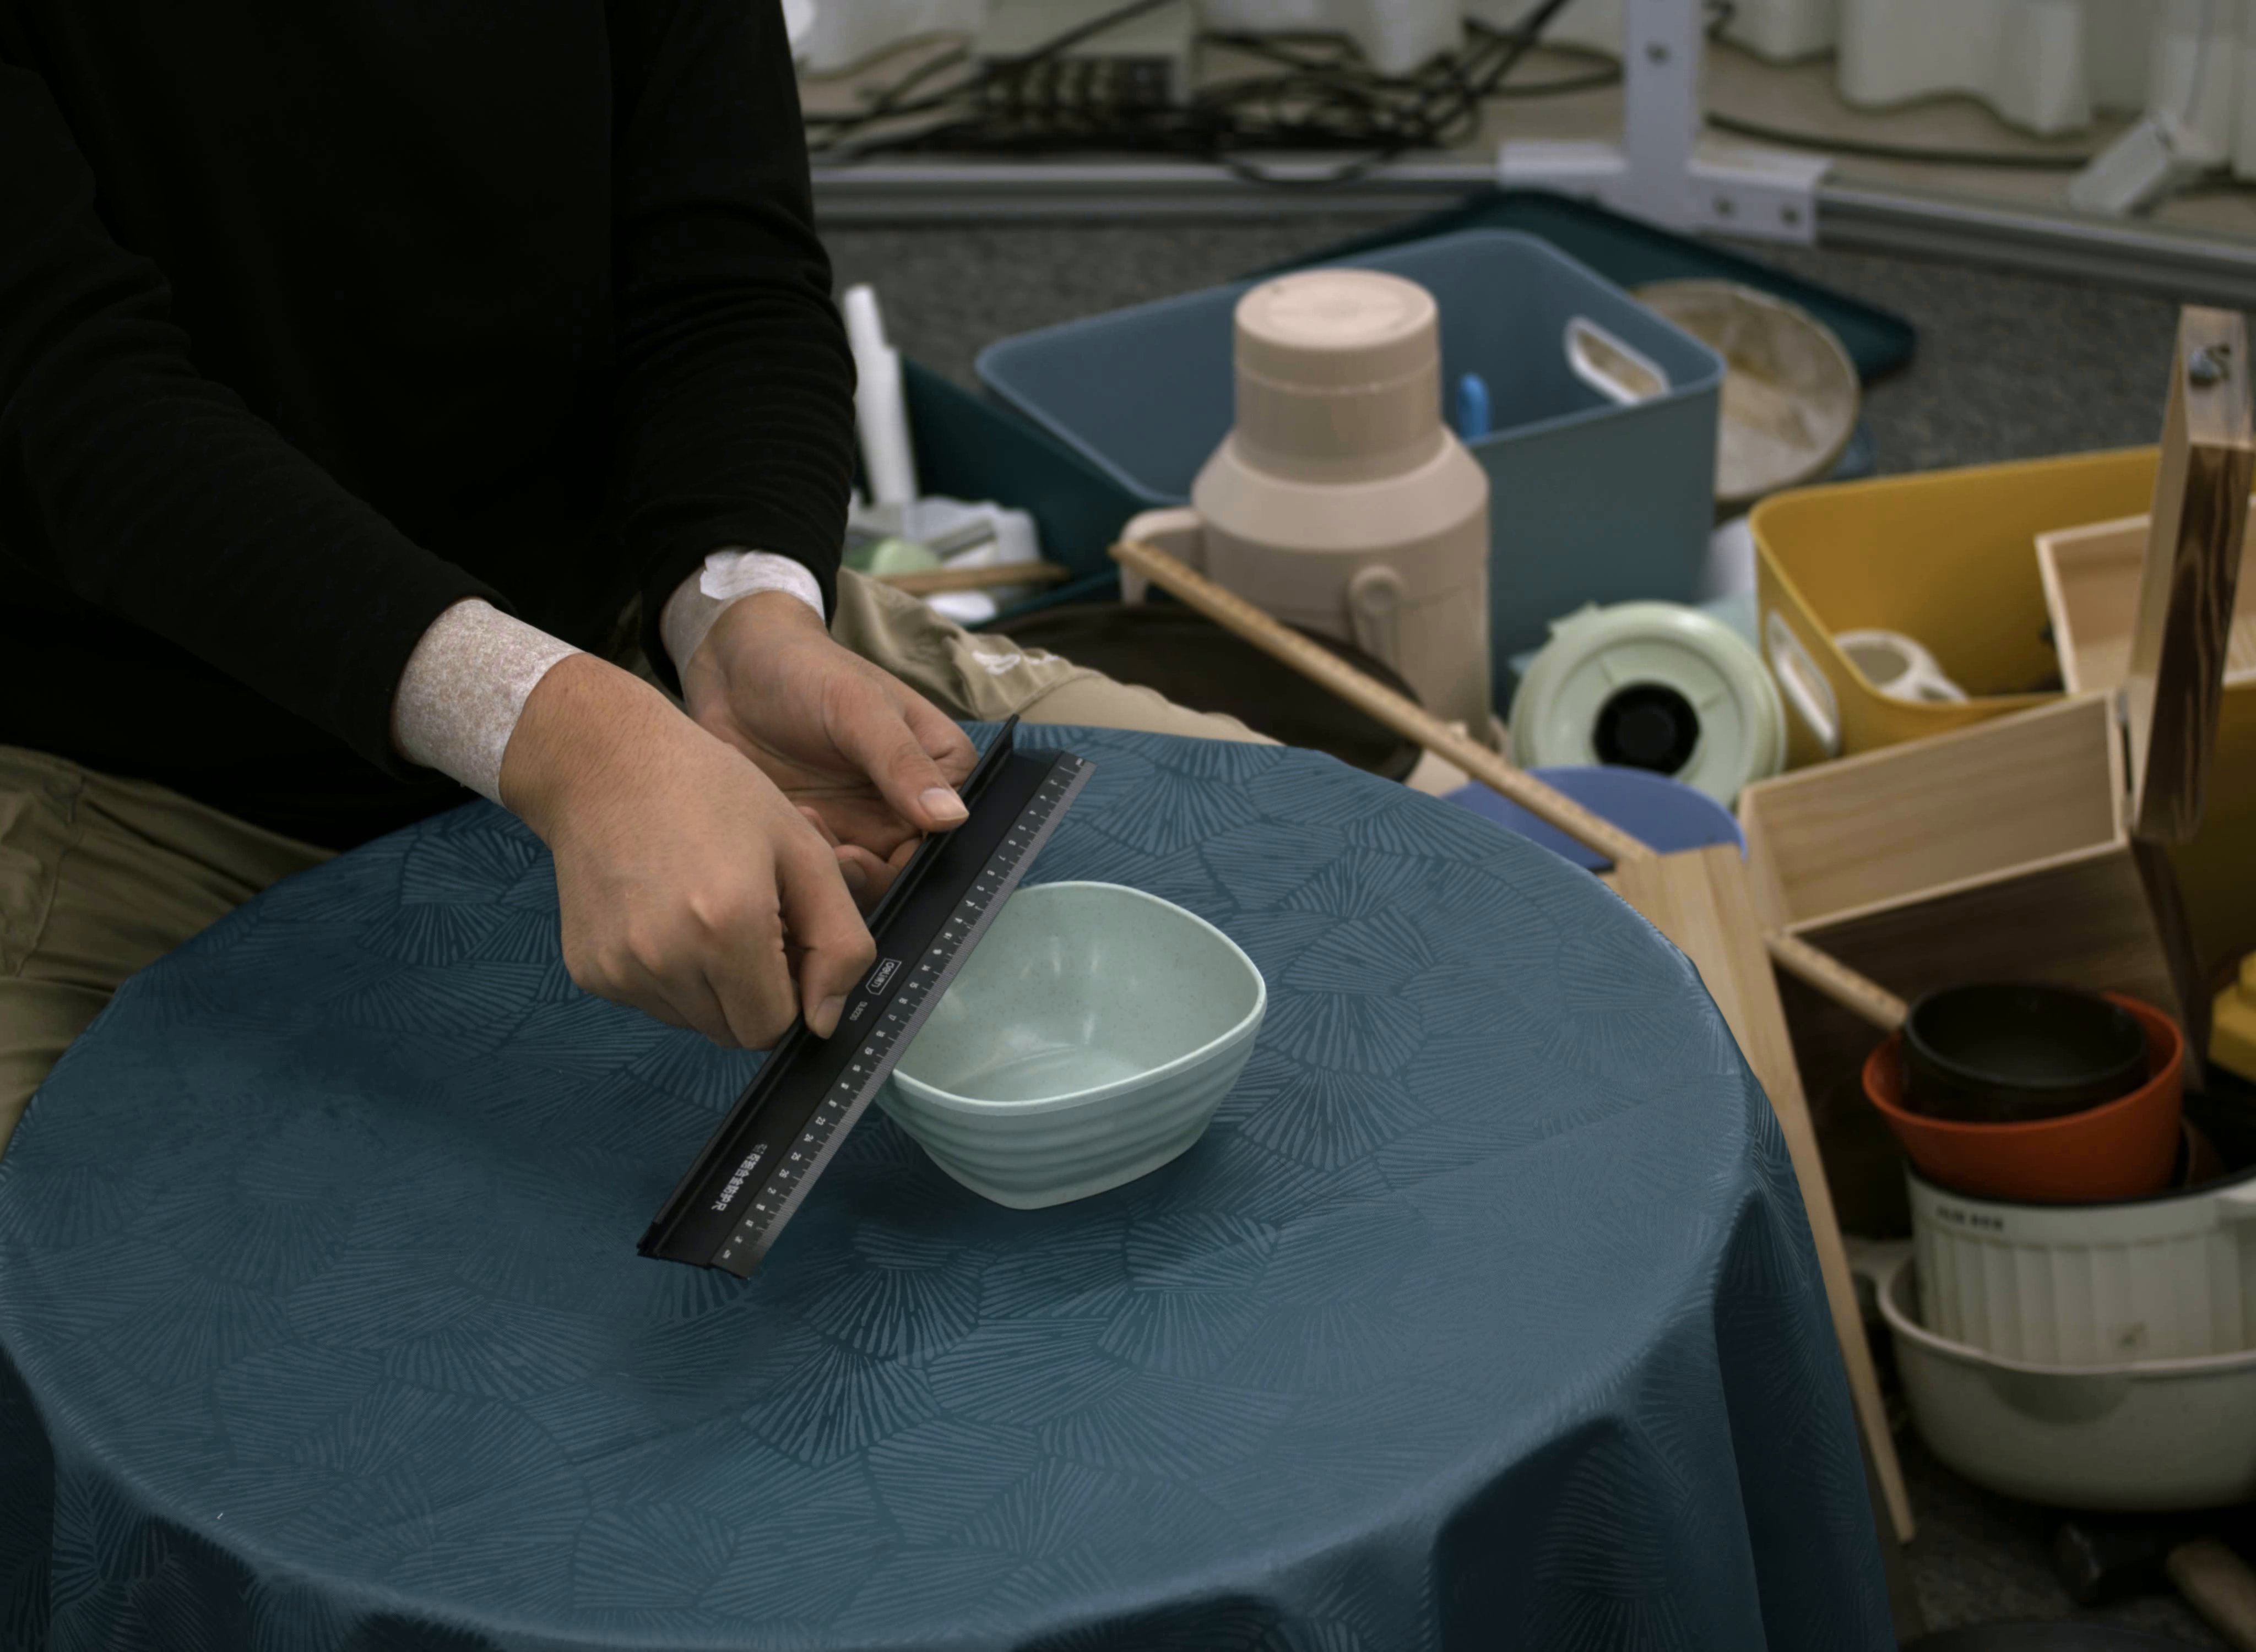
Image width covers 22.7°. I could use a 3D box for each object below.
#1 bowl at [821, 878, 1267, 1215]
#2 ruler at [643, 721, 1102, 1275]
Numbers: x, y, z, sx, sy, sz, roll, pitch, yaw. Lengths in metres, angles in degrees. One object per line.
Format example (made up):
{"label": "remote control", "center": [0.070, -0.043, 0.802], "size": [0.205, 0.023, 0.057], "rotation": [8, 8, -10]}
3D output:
{"label": "bowl", "center": [-0.027, 0.080, 1.885], "size": [0.151, 0.058, 0.154], "rotation": [-2, 29, 2]}
{"label": "ruler", "center": [-0.080, 0.051, 1.859], "size": [0.039, 0.017, 0.318], "rotation": [14, 35, 15]}
